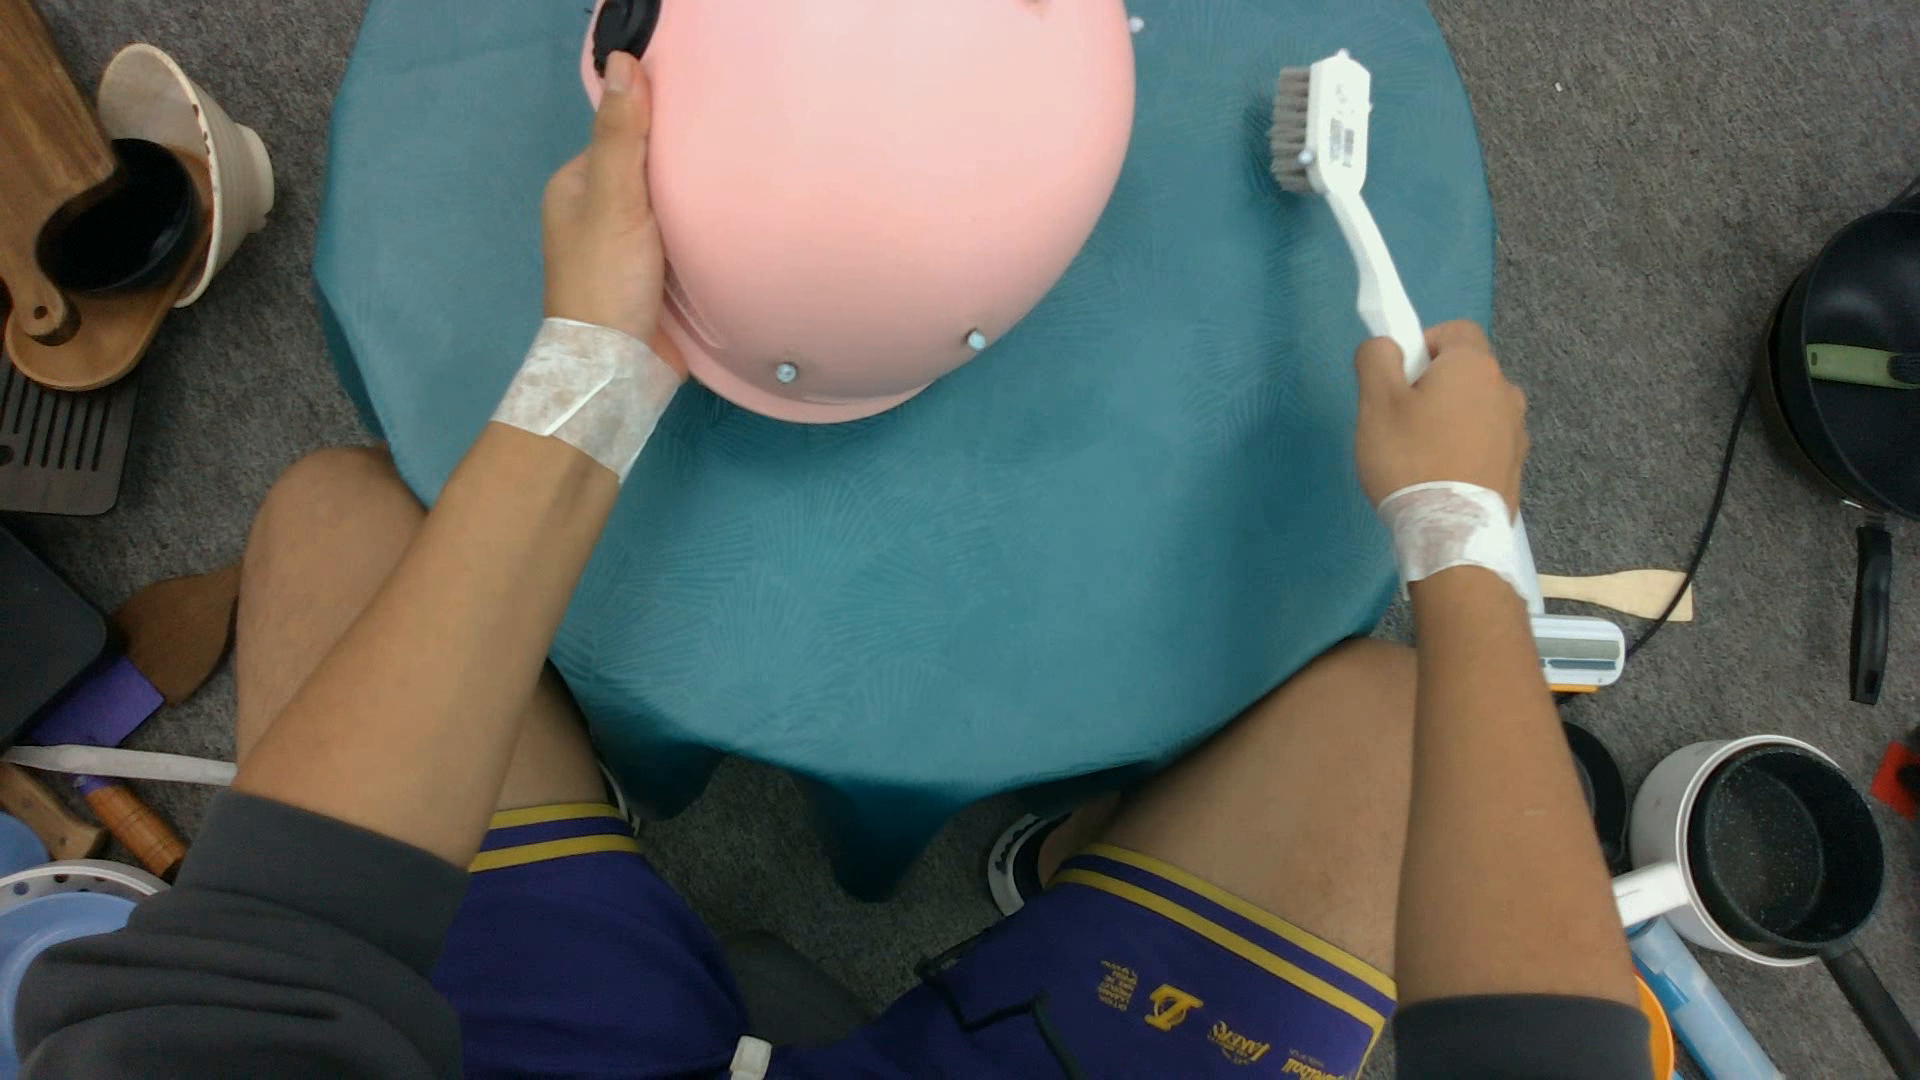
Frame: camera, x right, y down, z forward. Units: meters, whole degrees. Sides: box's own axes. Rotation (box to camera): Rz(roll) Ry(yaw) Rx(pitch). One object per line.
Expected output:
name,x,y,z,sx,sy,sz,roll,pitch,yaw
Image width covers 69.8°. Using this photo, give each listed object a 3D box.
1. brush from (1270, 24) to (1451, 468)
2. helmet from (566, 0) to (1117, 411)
brush,0.193,-0.145,0.679,0.034,0.050,0.244,3,72,-35
helmet,-0.030,-0.188,0.586,0.234,0.158,0.266,28,74,-36
